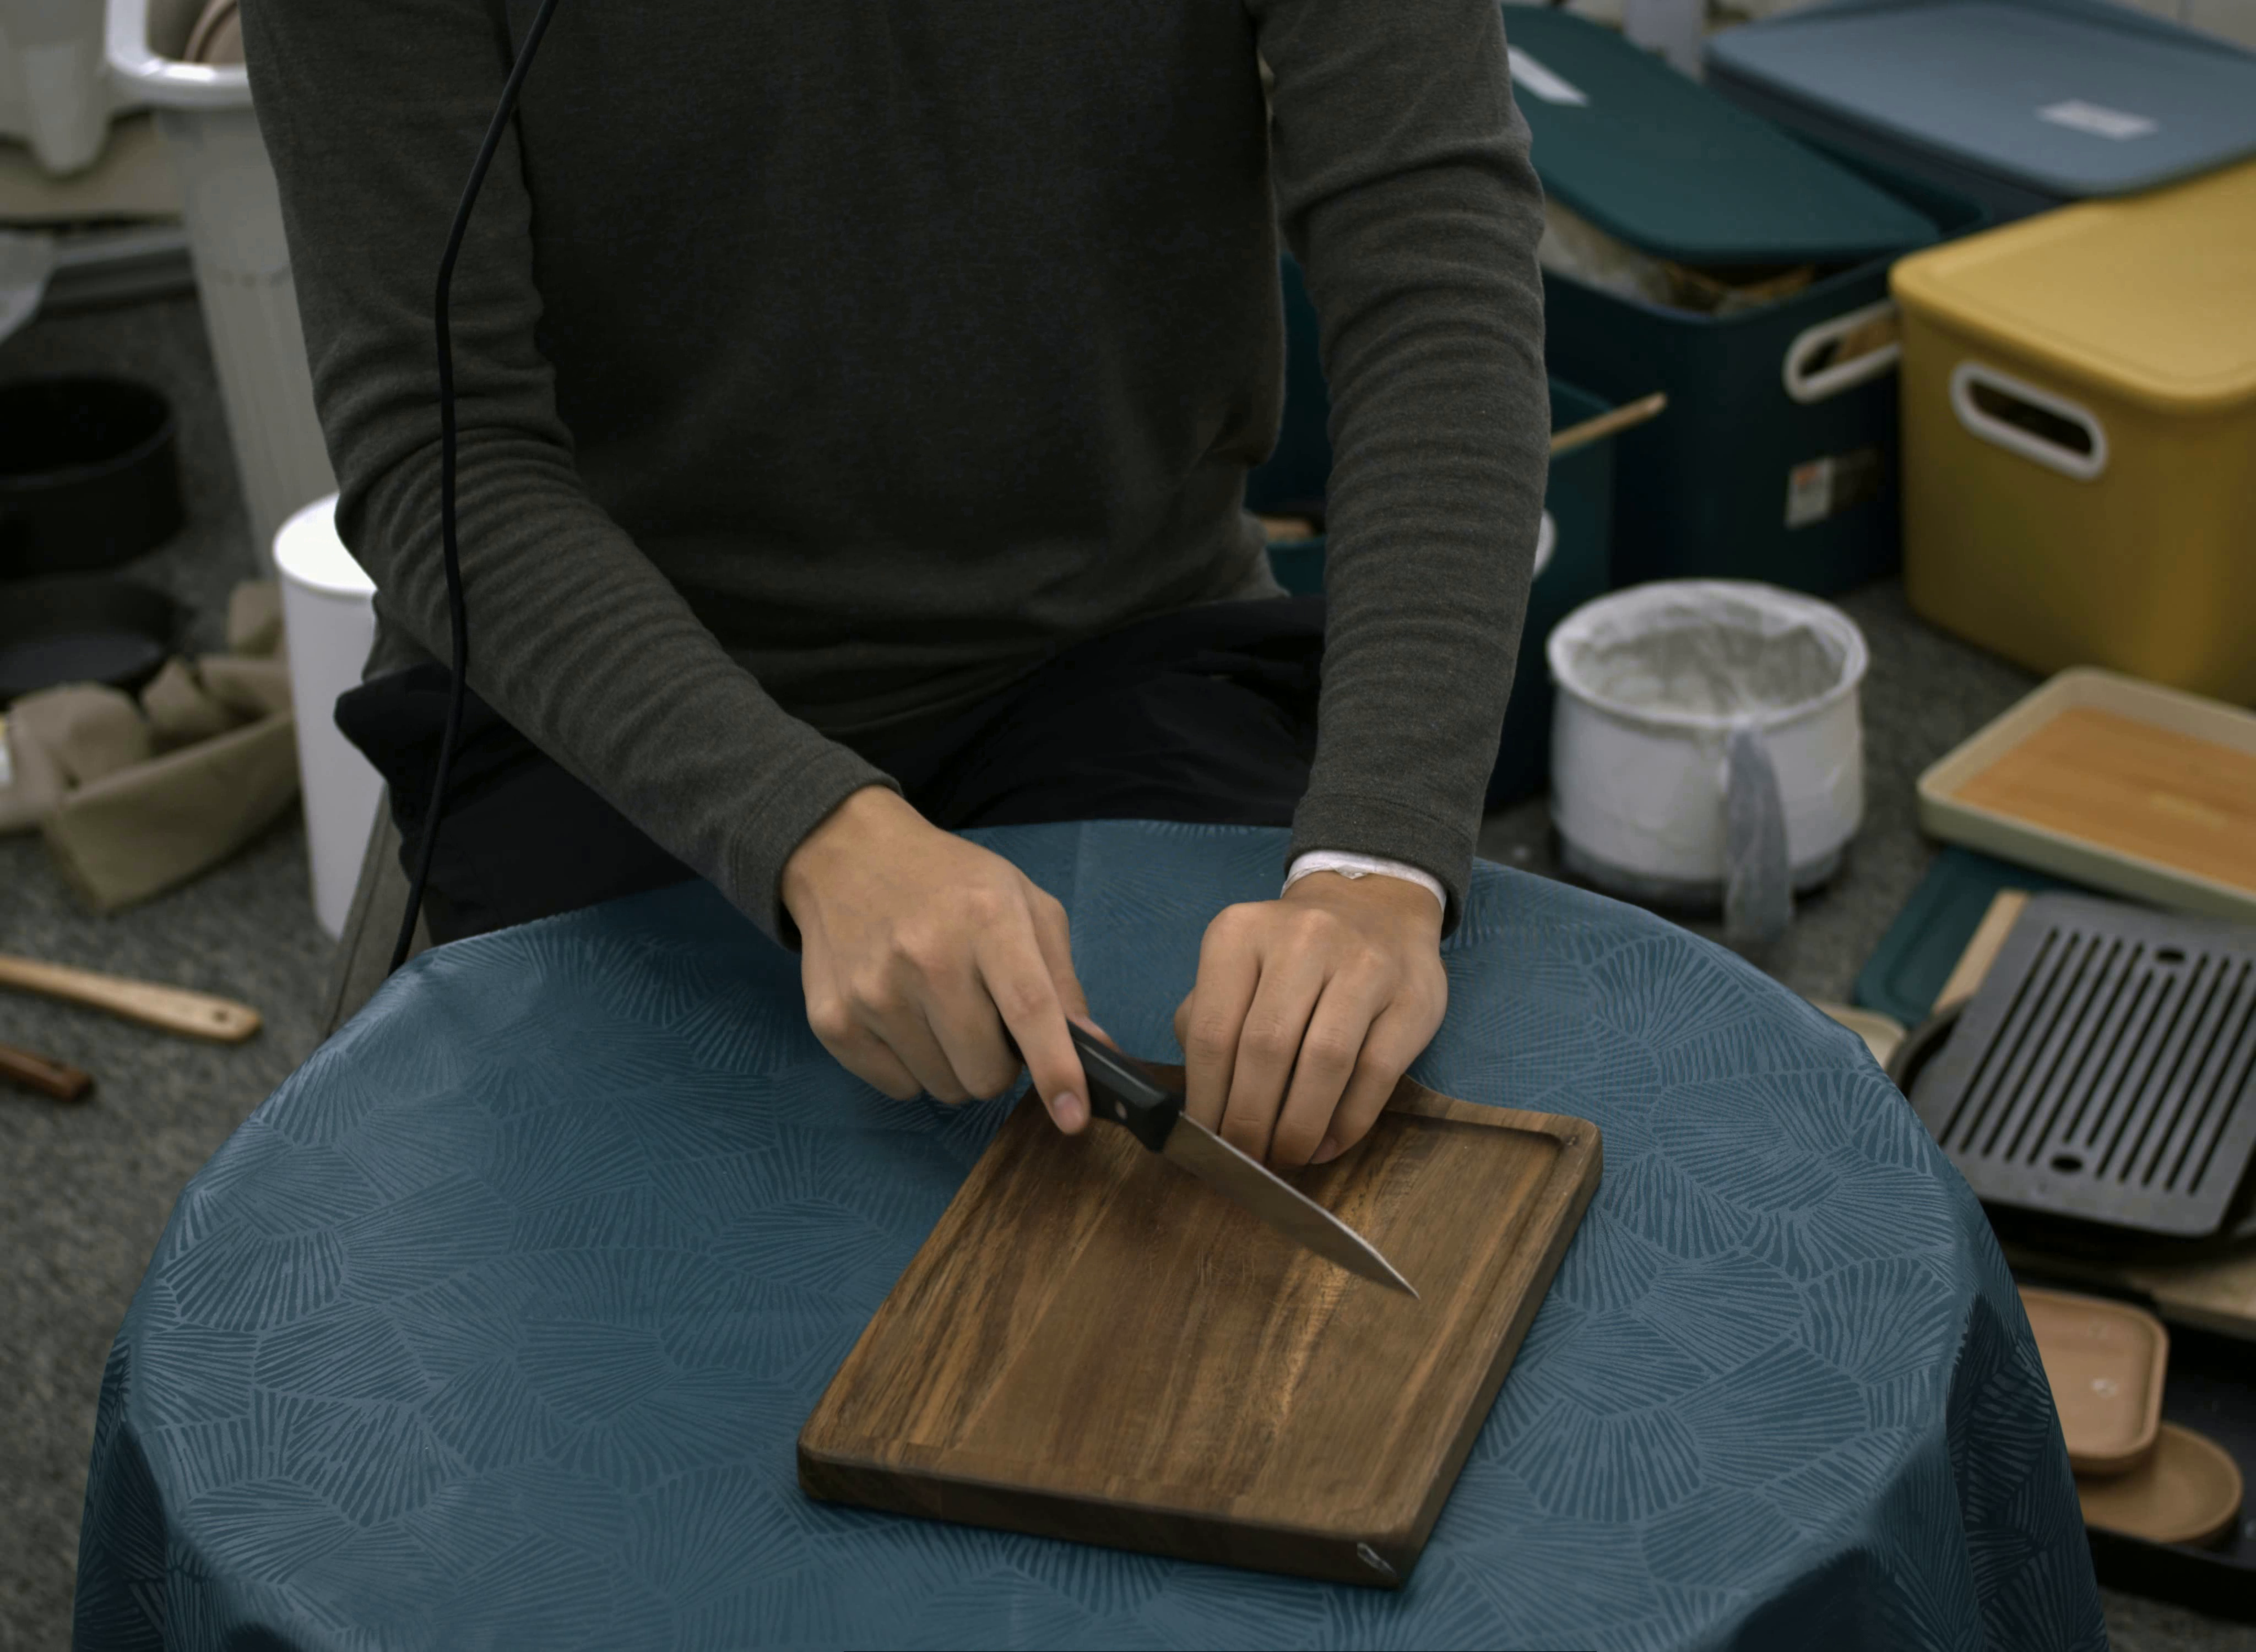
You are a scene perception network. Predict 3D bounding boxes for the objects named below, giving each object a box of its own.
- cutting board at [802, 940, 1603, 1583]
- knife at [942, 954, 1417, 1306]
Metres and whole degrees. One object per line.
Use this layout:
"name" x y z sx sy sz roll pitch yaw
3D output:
"cutting board" 0.043 0.128 1.823 0.199 0.023 0.358 7 28 17
"knife" 0.015 0.096 1.809 0.016 0.024 0.239 -22 38 -32
